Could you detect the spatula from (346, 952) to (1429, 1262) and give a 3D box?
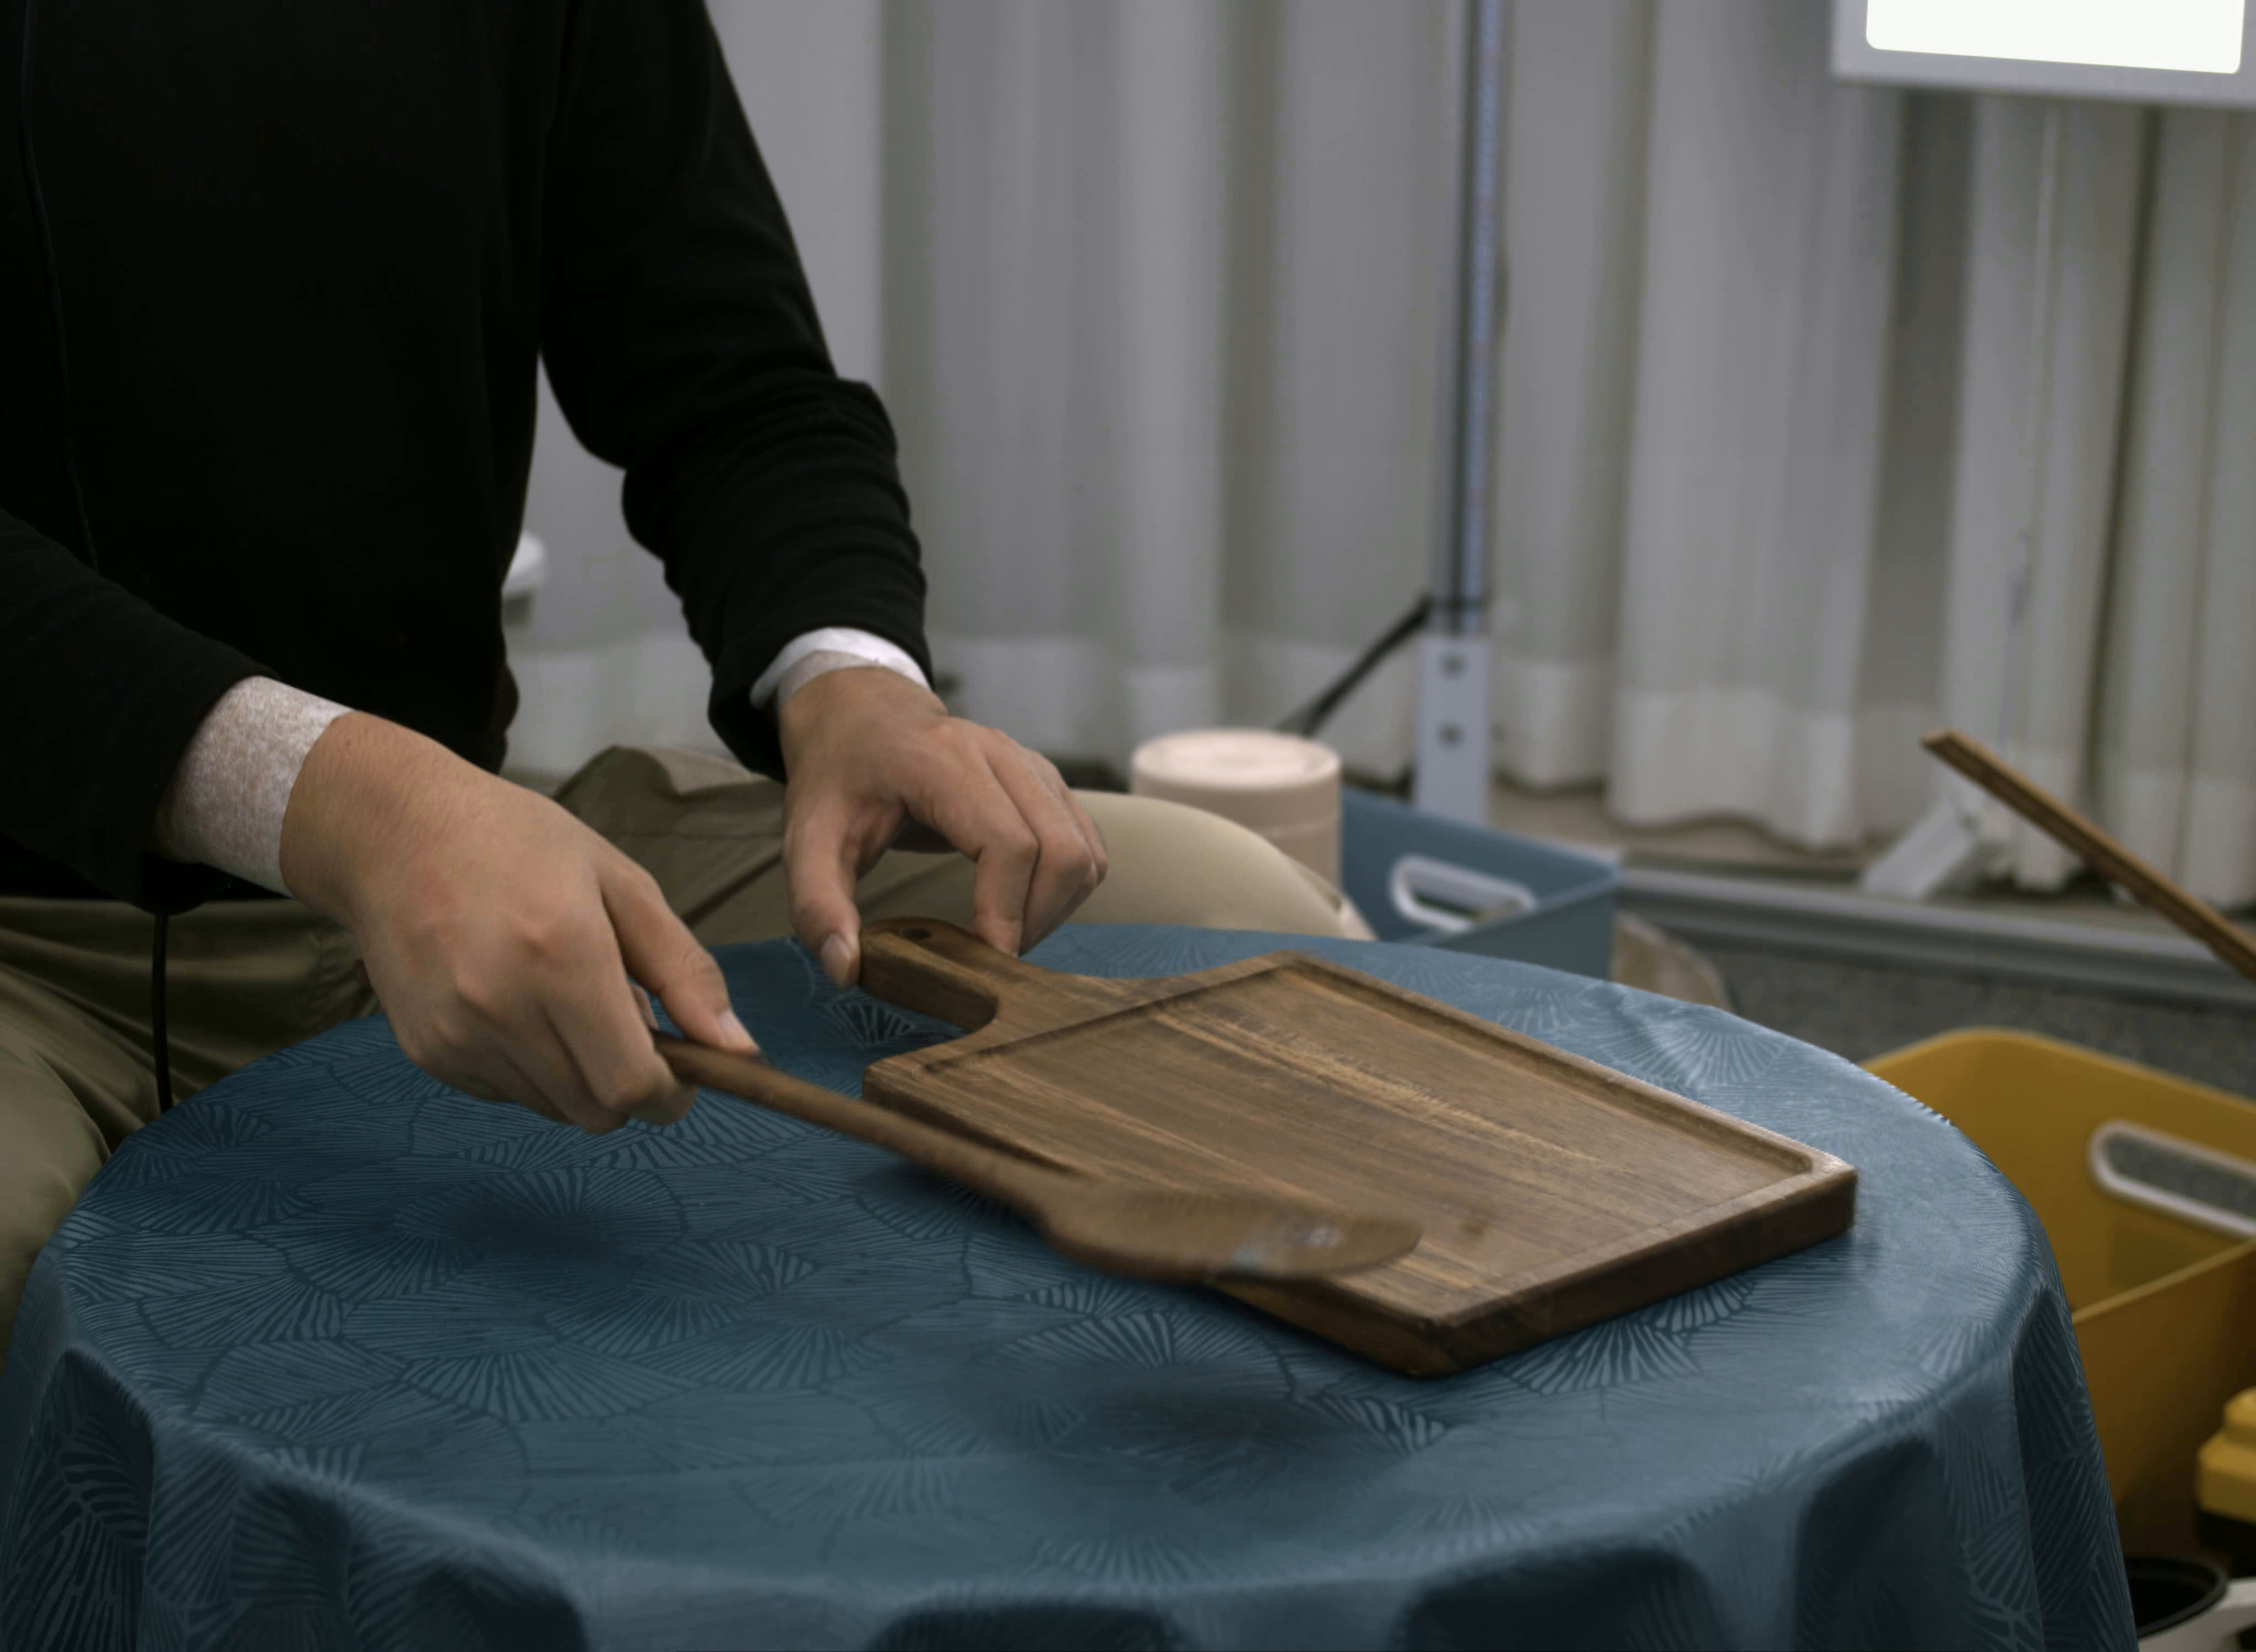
[{"bbox_3d":[-0.086,0.077,1.510,0.381,0.016,0.097,14,11,35],"label":"spatula"}]

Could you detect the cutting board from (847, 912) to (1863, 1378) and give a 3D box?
[{"bbox_3d":[0.036,0.084,1.643,0.202,0.023,0.347,-14,25,-43],"label":"cutting board"}]
